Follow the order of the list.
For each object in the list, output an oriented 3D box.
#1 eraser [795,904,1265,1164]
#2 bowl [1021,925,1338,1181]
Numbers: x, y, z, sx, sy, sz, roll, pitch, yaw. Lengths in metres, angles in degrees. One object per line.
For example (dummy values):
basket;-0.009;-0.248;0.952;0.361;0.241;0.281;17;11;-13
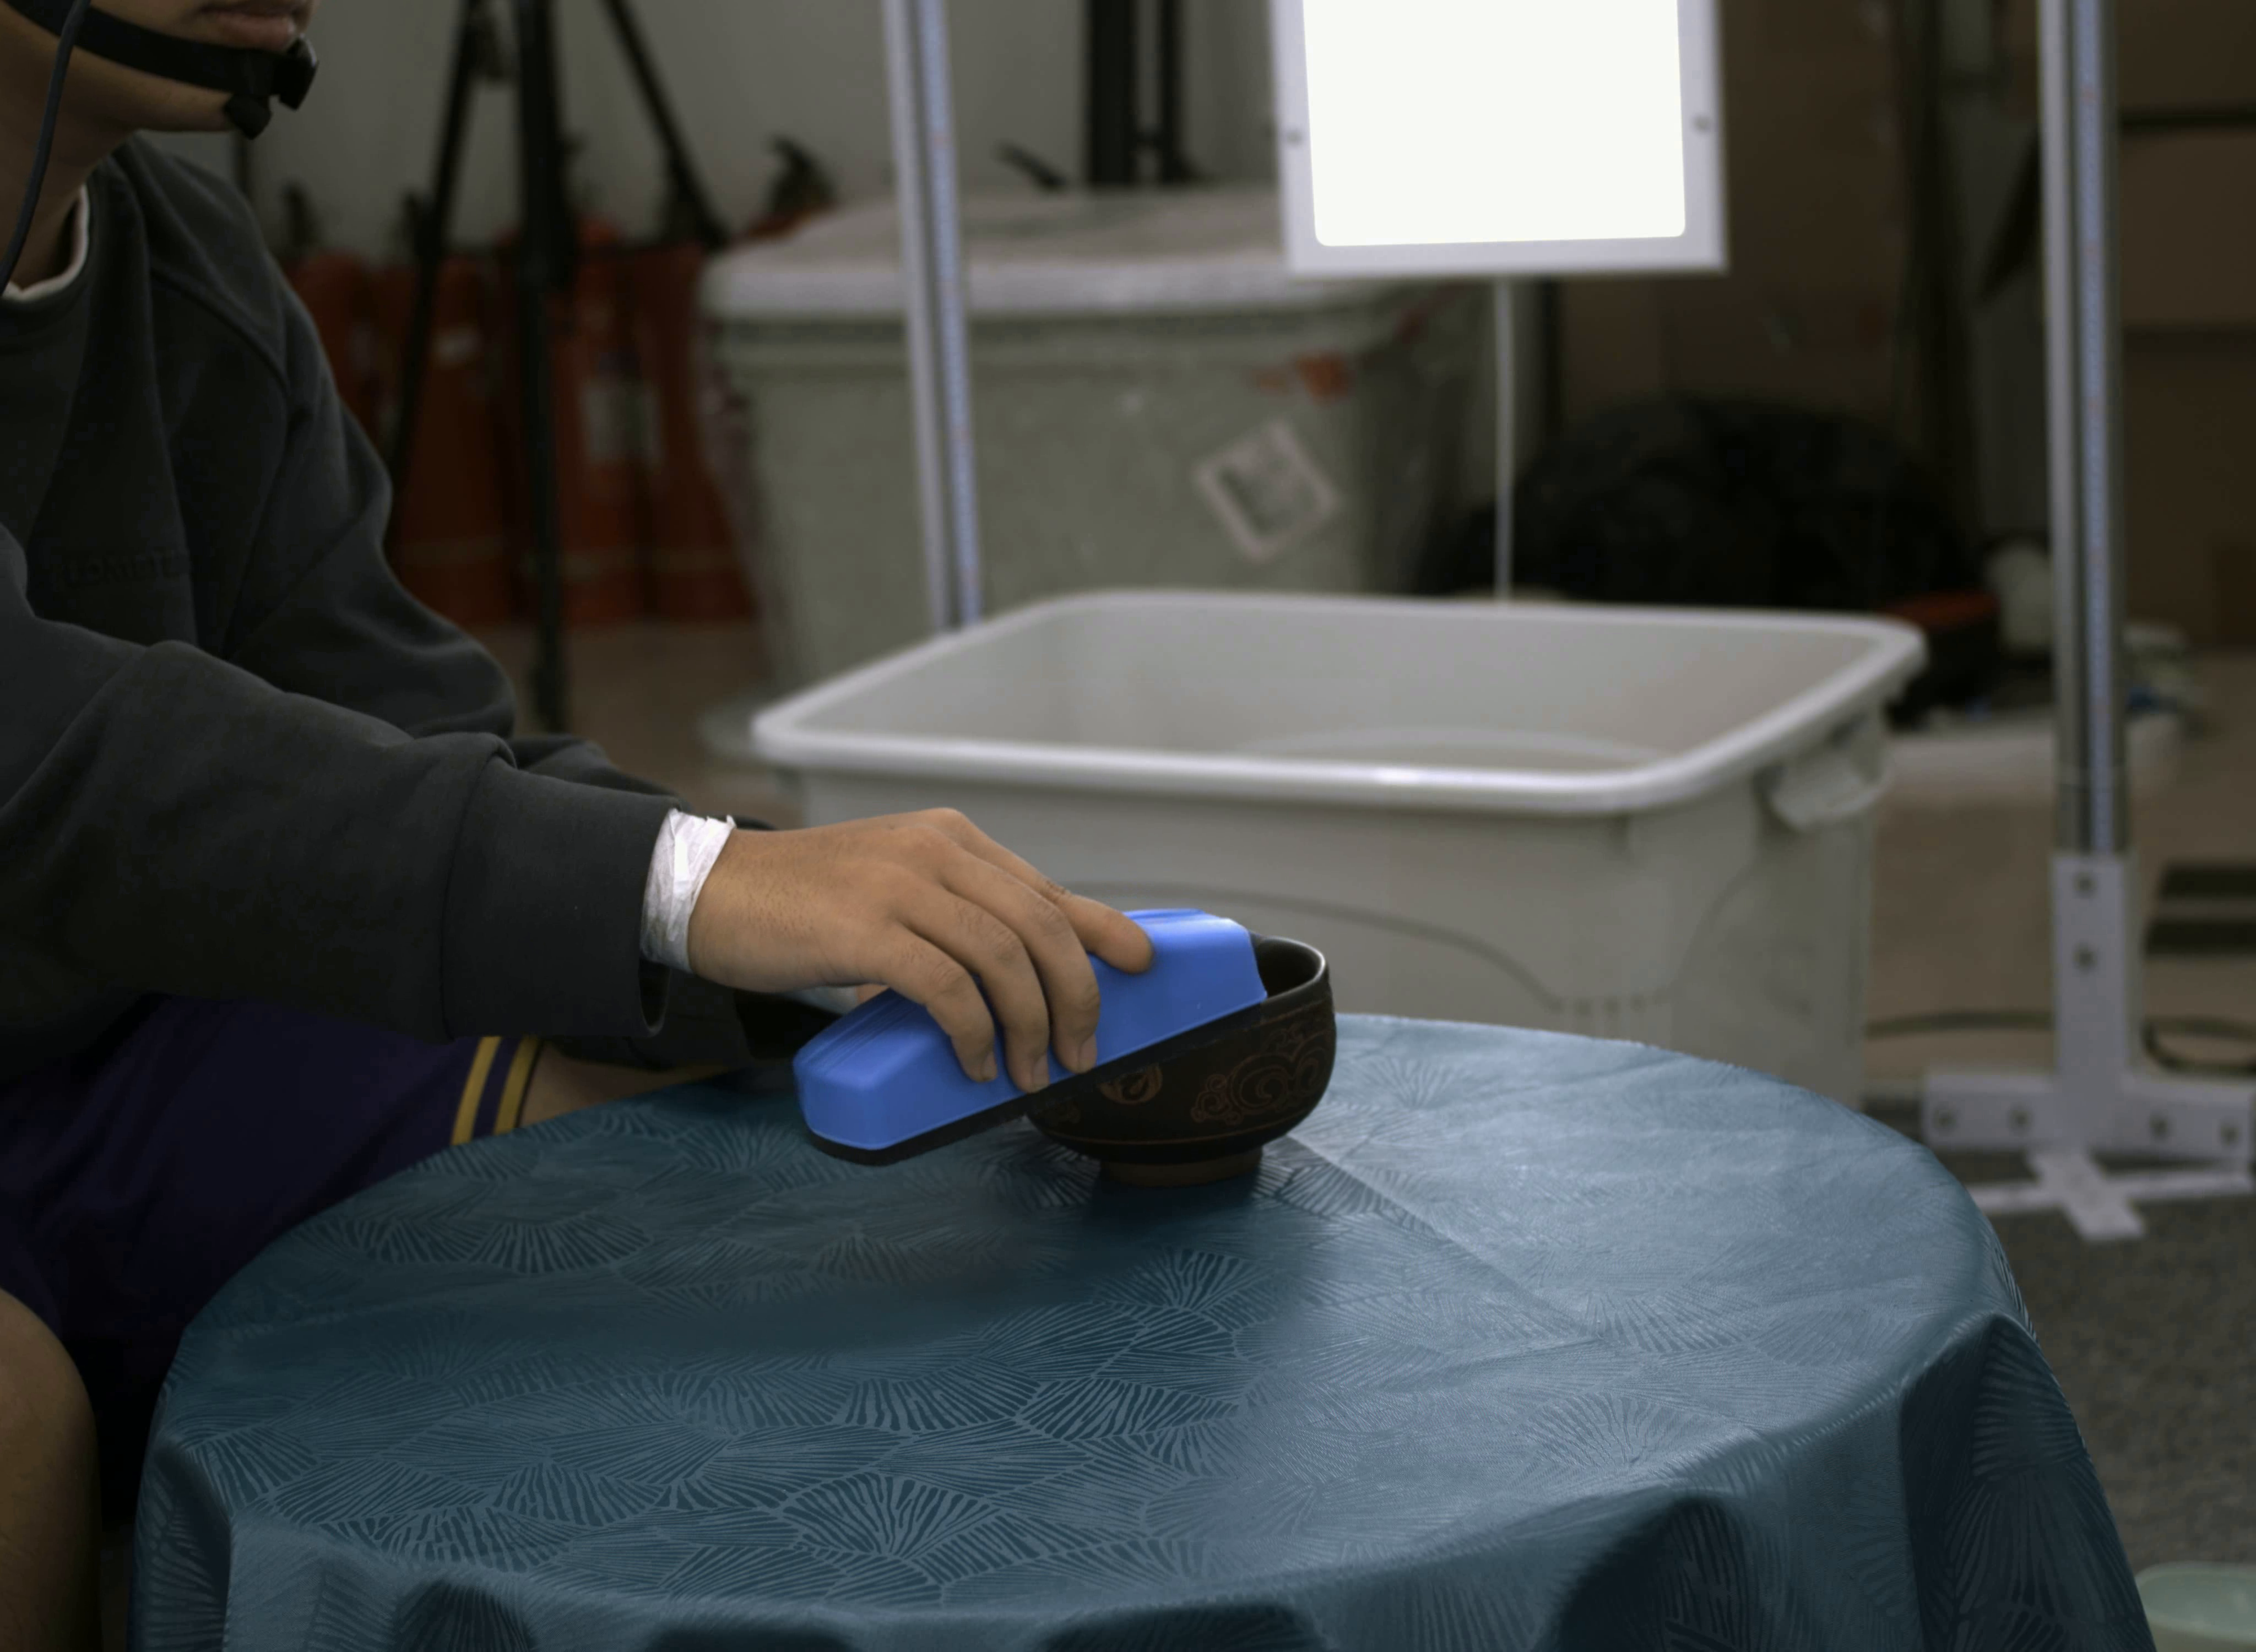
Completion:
eraser;-0.032;0.062;1.812;0.159;0.047;0.055;-20;22;-27
bowl;0.016;0.082;1.914;0.118;0.070;0.118;-7;13;0
